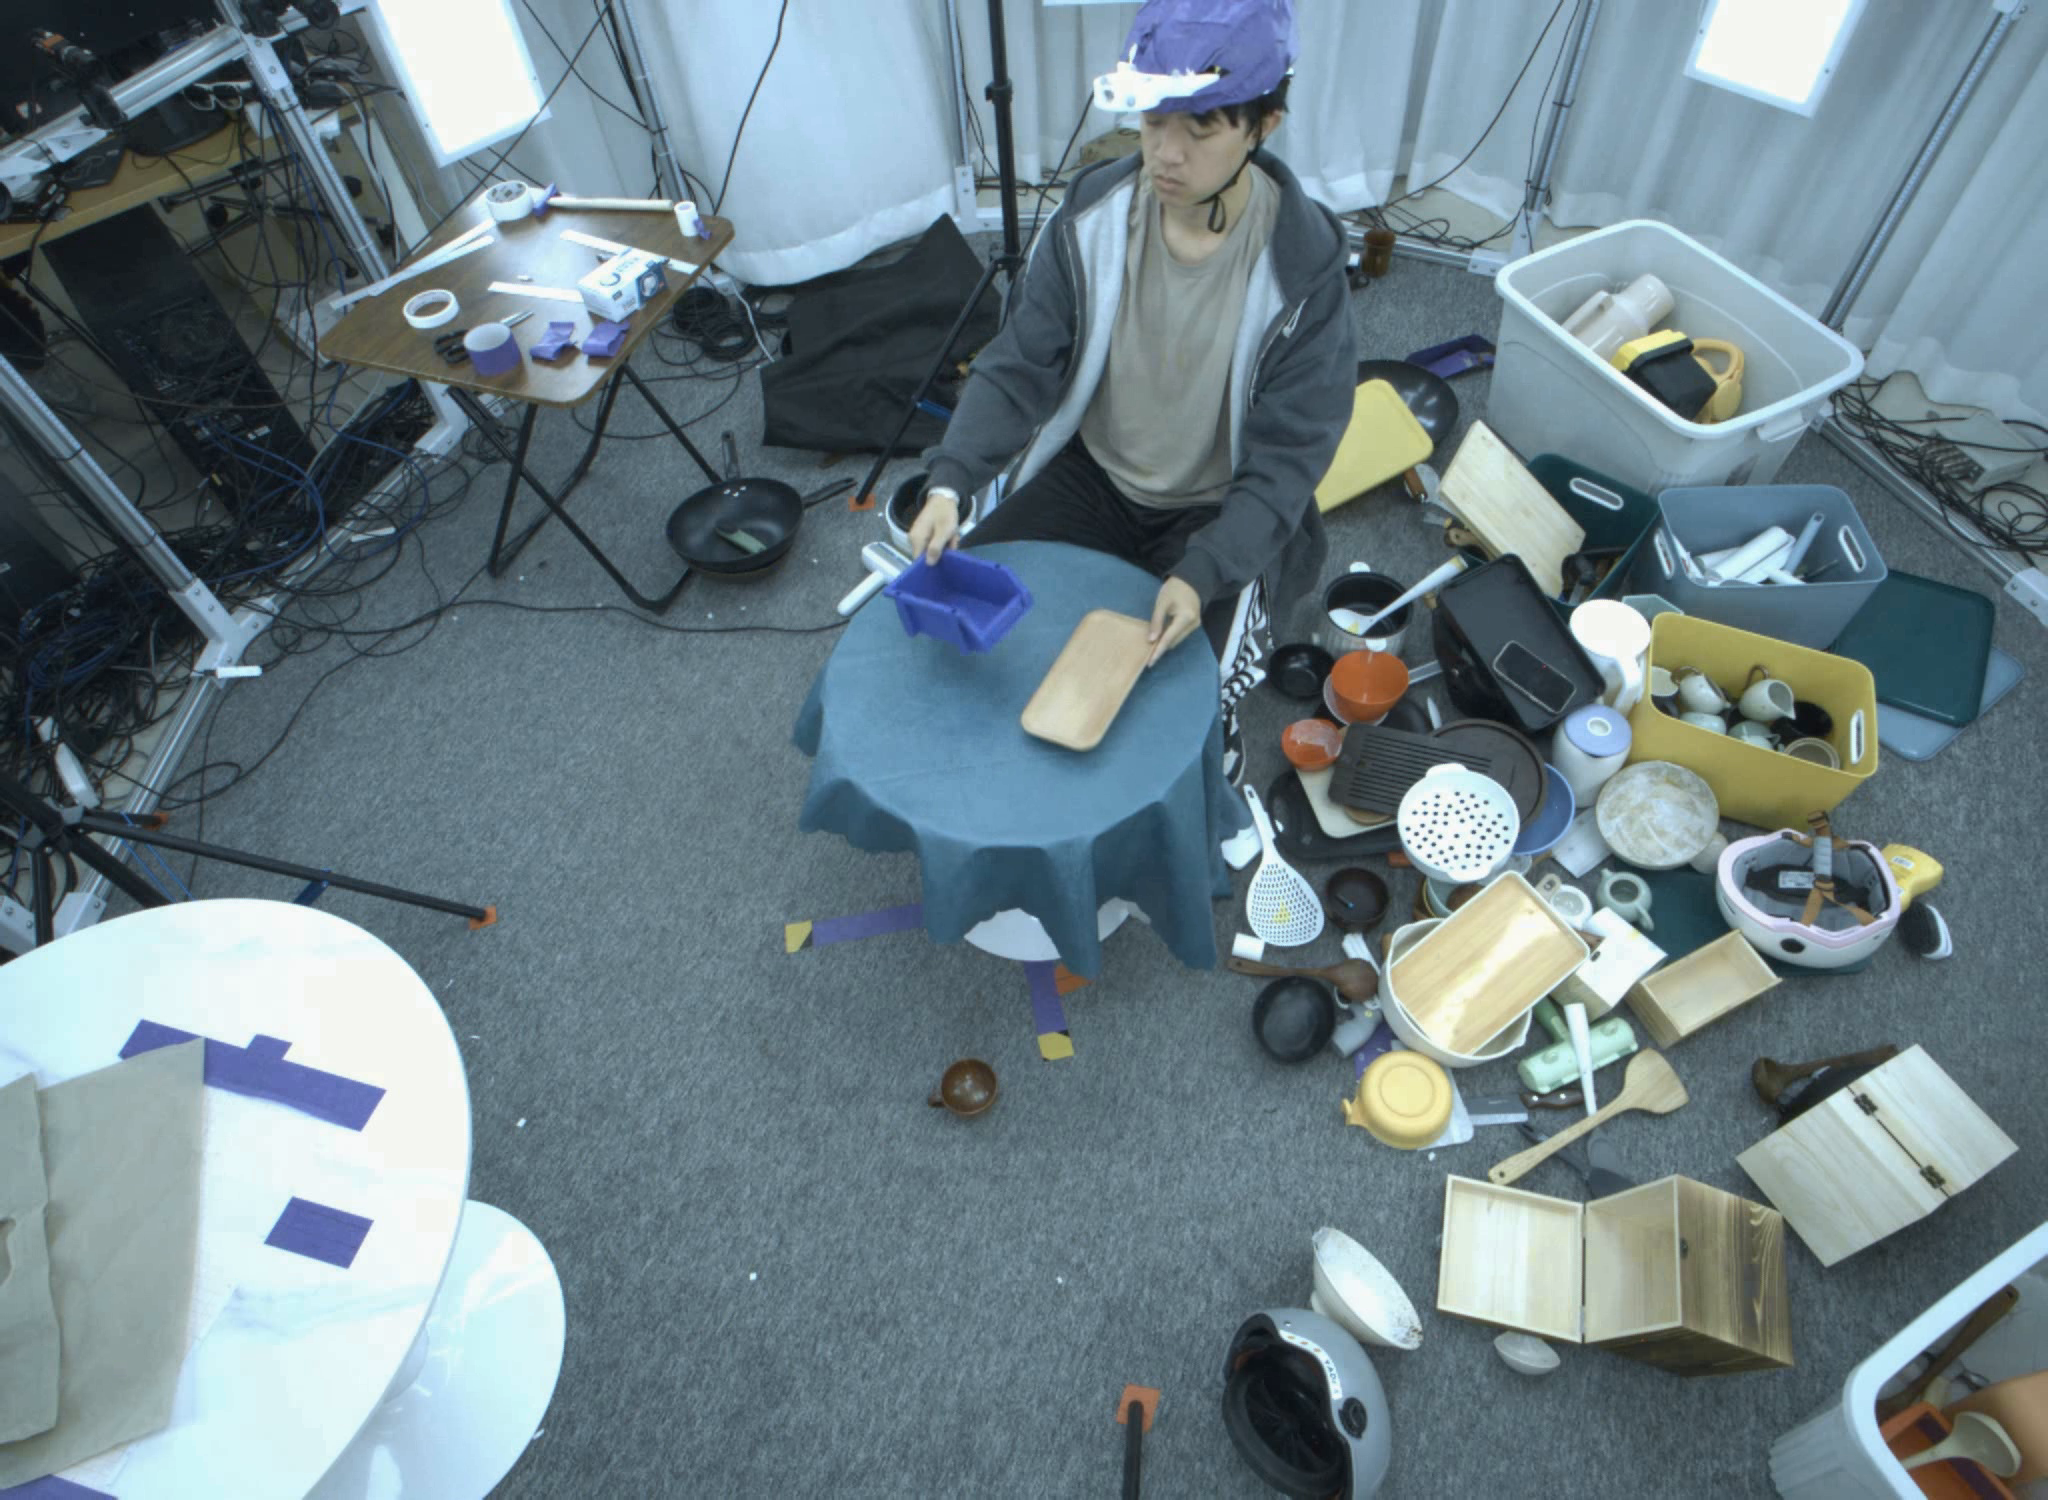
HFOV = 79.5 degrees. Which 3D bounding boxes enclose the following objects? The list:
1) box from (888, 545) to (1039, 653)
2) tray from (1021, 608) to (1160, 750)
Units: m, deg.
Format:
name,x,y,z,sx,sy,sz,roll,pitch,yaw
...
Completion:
name,x,y,z,sx,sy,sz,roll,pitch,yaw
box,-0.086,-0.220,1.789,0.175,0.083,0.125,20,55,34
tray,0.100,-0.108,1.820,0.128,0.023,0.251,22,61,19
